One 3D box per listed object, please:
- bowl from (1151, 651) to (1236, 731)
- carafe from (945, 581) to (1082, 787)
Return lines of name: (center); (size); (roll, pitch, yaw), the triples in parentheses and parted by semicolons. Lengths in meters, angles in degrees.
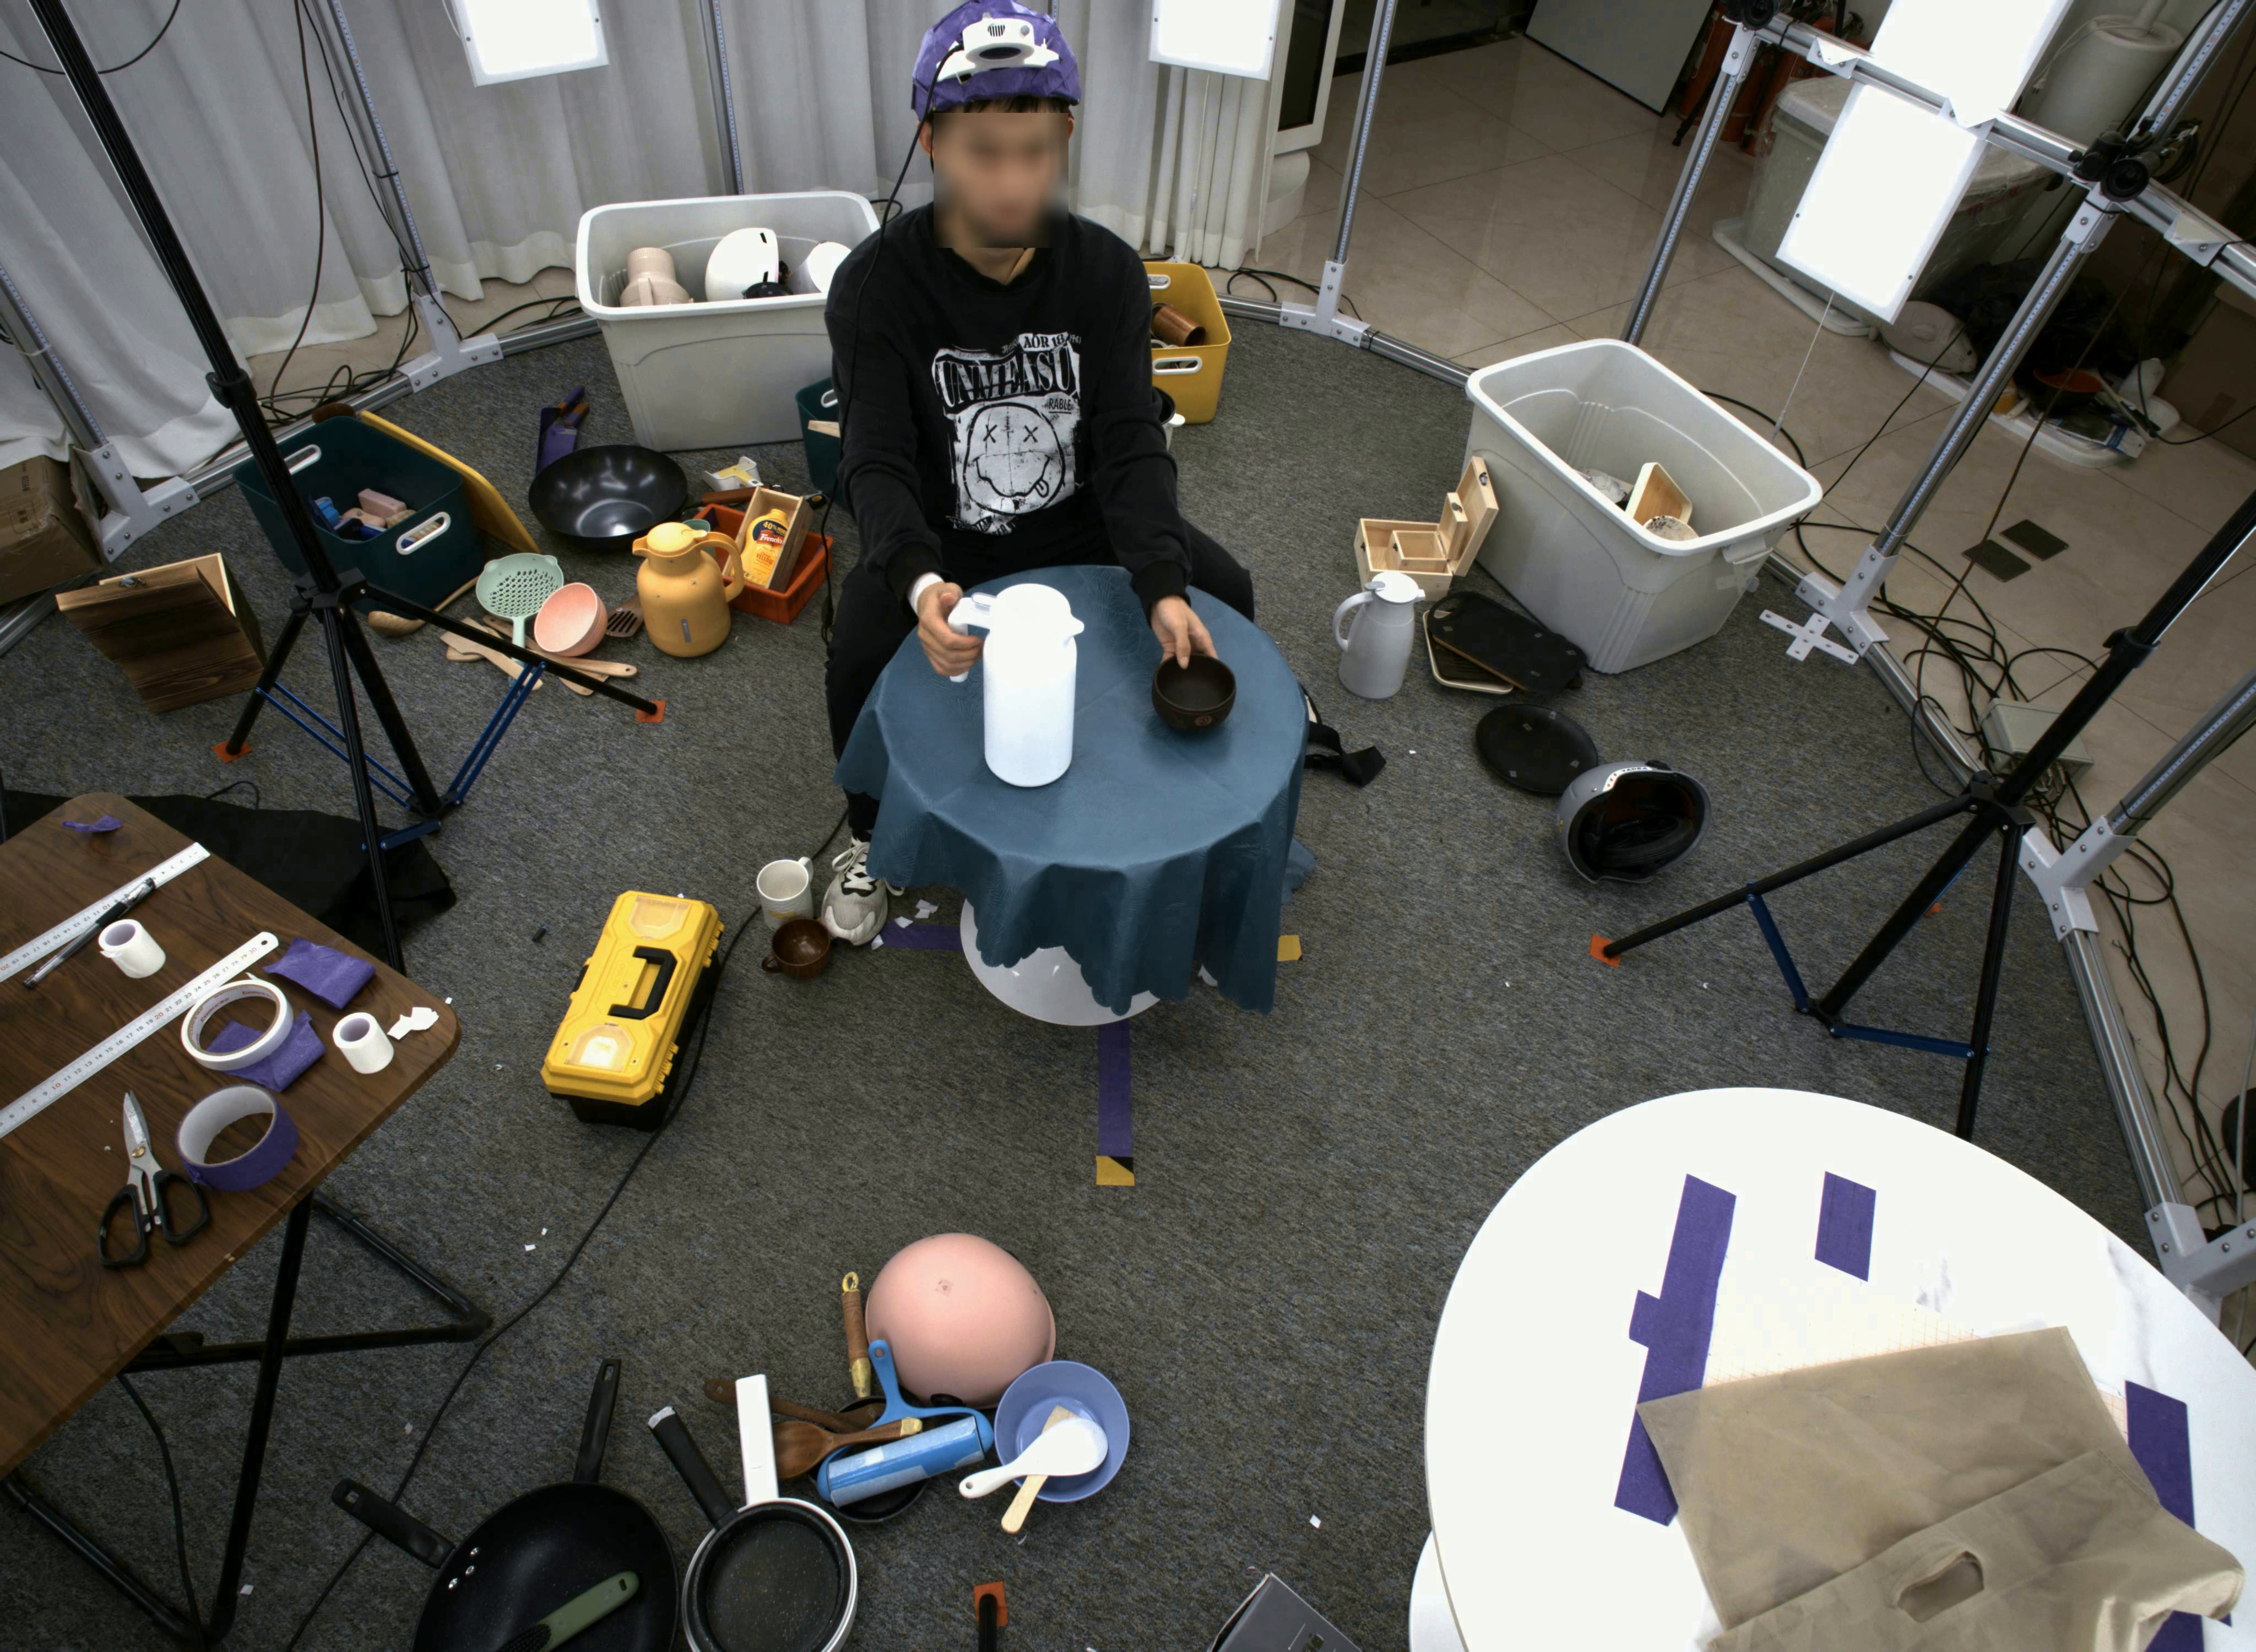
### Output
bowl: (0.090, -0.180, 1.783); (0.118, 0.068, 0.121); (1, 49, -2)
carafe: (-0.146, -0.179, 1.644); (0.173, 0.262, 0.126); (13, 52, 7)
